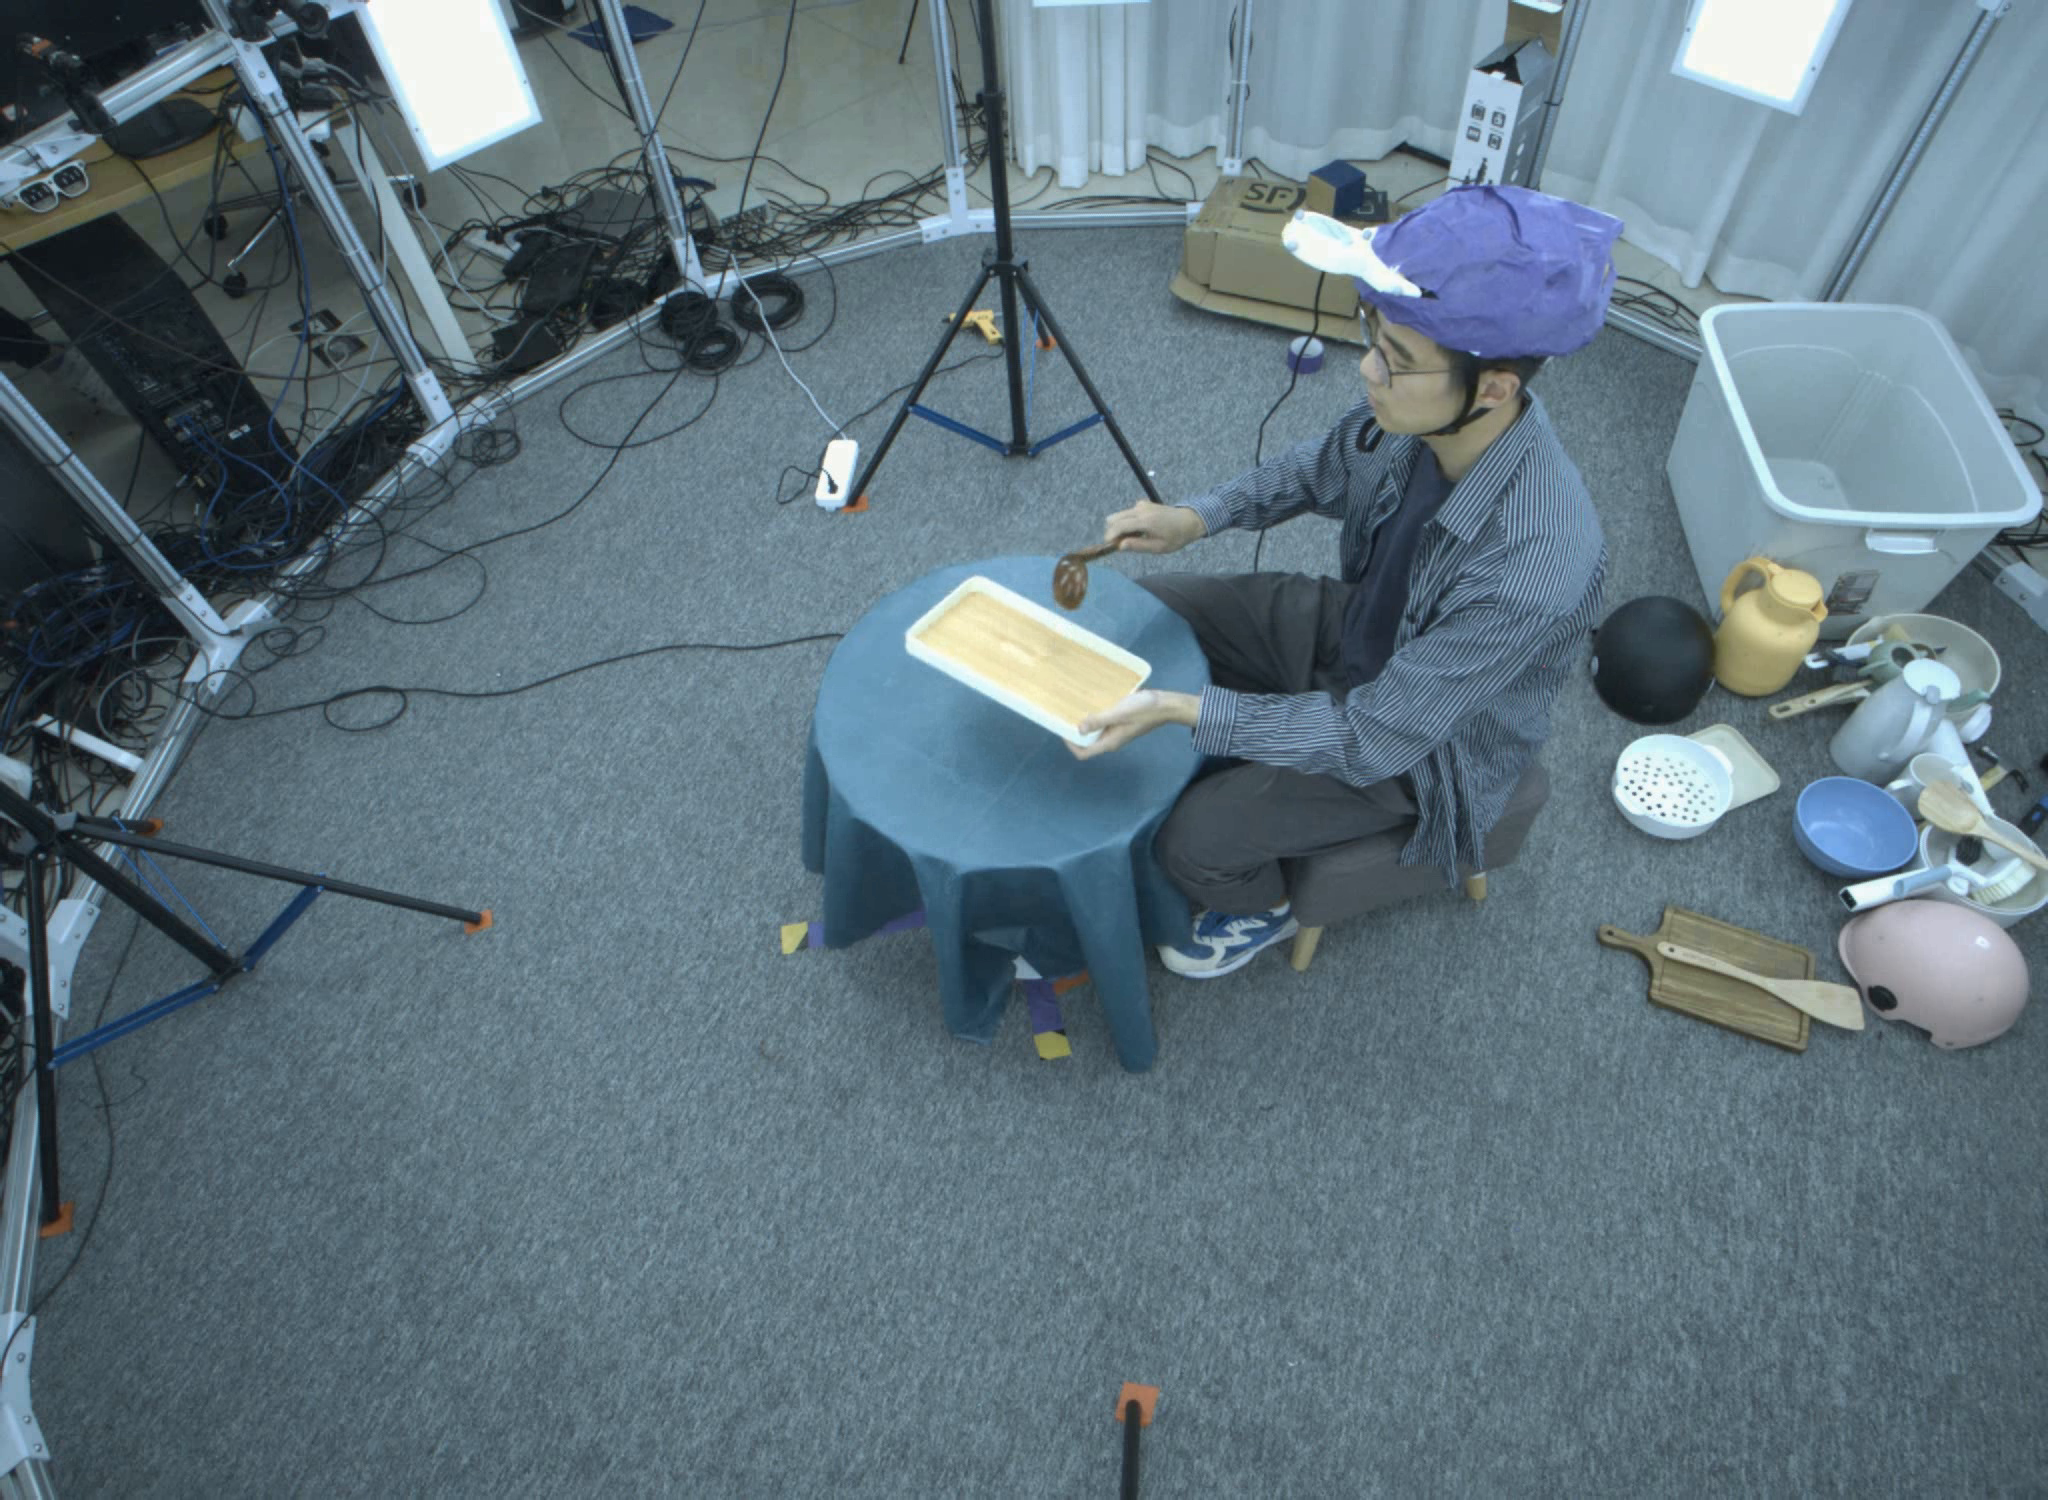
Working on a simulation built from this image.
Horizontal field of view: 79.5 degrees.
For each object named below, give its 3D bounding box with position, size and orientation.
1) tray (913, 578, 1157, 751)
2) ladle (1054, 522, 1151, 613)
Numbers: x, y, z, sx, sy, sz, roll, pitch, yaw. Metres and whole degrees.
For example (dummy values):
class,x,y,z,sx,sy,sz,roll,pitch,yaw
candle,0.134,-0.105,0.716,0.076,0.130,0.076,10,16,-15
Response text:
class,x,y,z,sx,sy,sz,roll,pitch,yaw
tray,0.016,-0.122,1.685,0.297,0.027,0.193,31,46,13
ladle,0.130,-0.271,1.762,0.076,0.082,0.277,43,42,14
